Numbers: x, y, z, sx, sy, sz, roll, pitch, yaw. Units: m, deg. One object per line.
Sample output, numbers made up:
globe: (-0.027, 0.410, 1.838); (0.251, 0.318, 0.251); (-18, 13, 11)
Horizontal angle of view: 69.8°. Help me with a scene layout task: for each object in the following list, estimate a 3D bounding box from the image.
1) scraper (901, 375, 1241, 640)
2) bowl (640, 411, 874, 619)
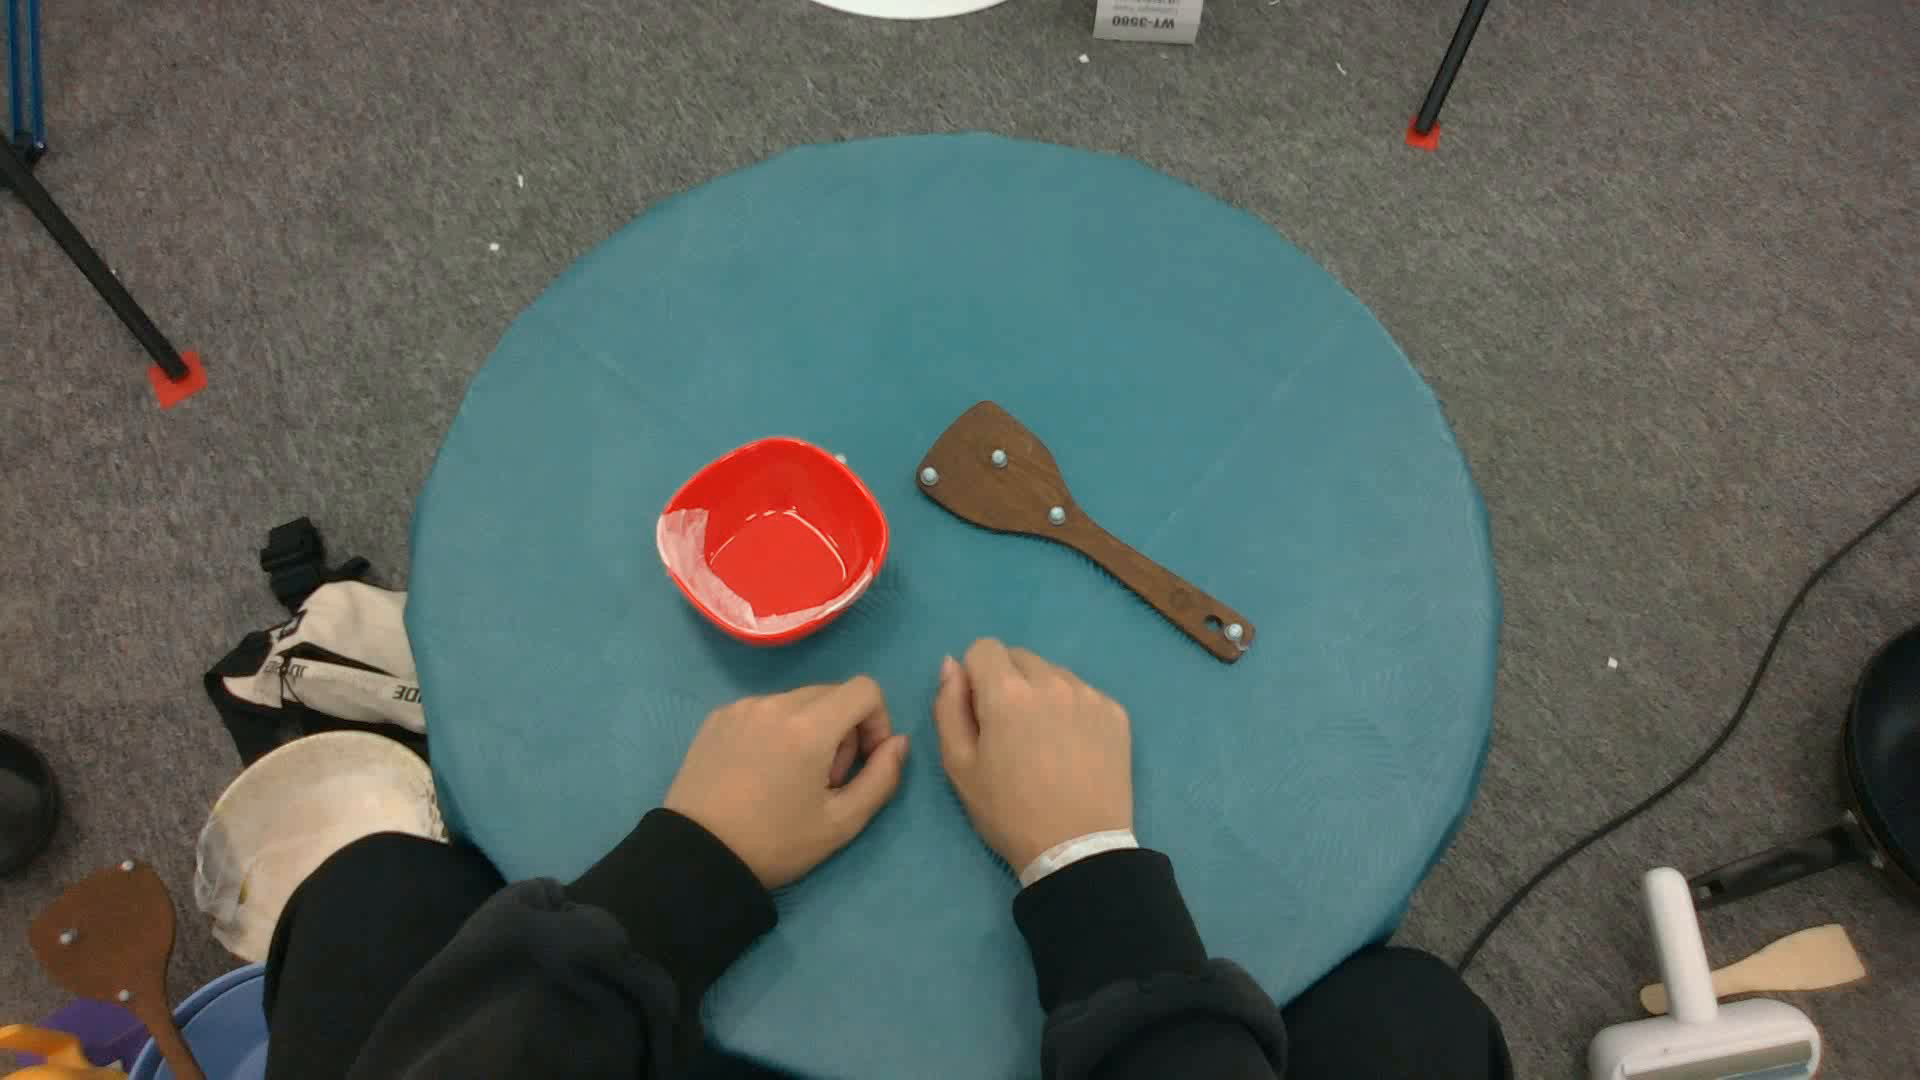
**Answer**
scraper: (0.065, -0.013, 0.767); (0.211, 0.011, 0.076); (36, 66, 14)
bowl: (-0.105, -0.006, 0.727); (0.119, 0.051, 0.119); (2, 60, -4)
